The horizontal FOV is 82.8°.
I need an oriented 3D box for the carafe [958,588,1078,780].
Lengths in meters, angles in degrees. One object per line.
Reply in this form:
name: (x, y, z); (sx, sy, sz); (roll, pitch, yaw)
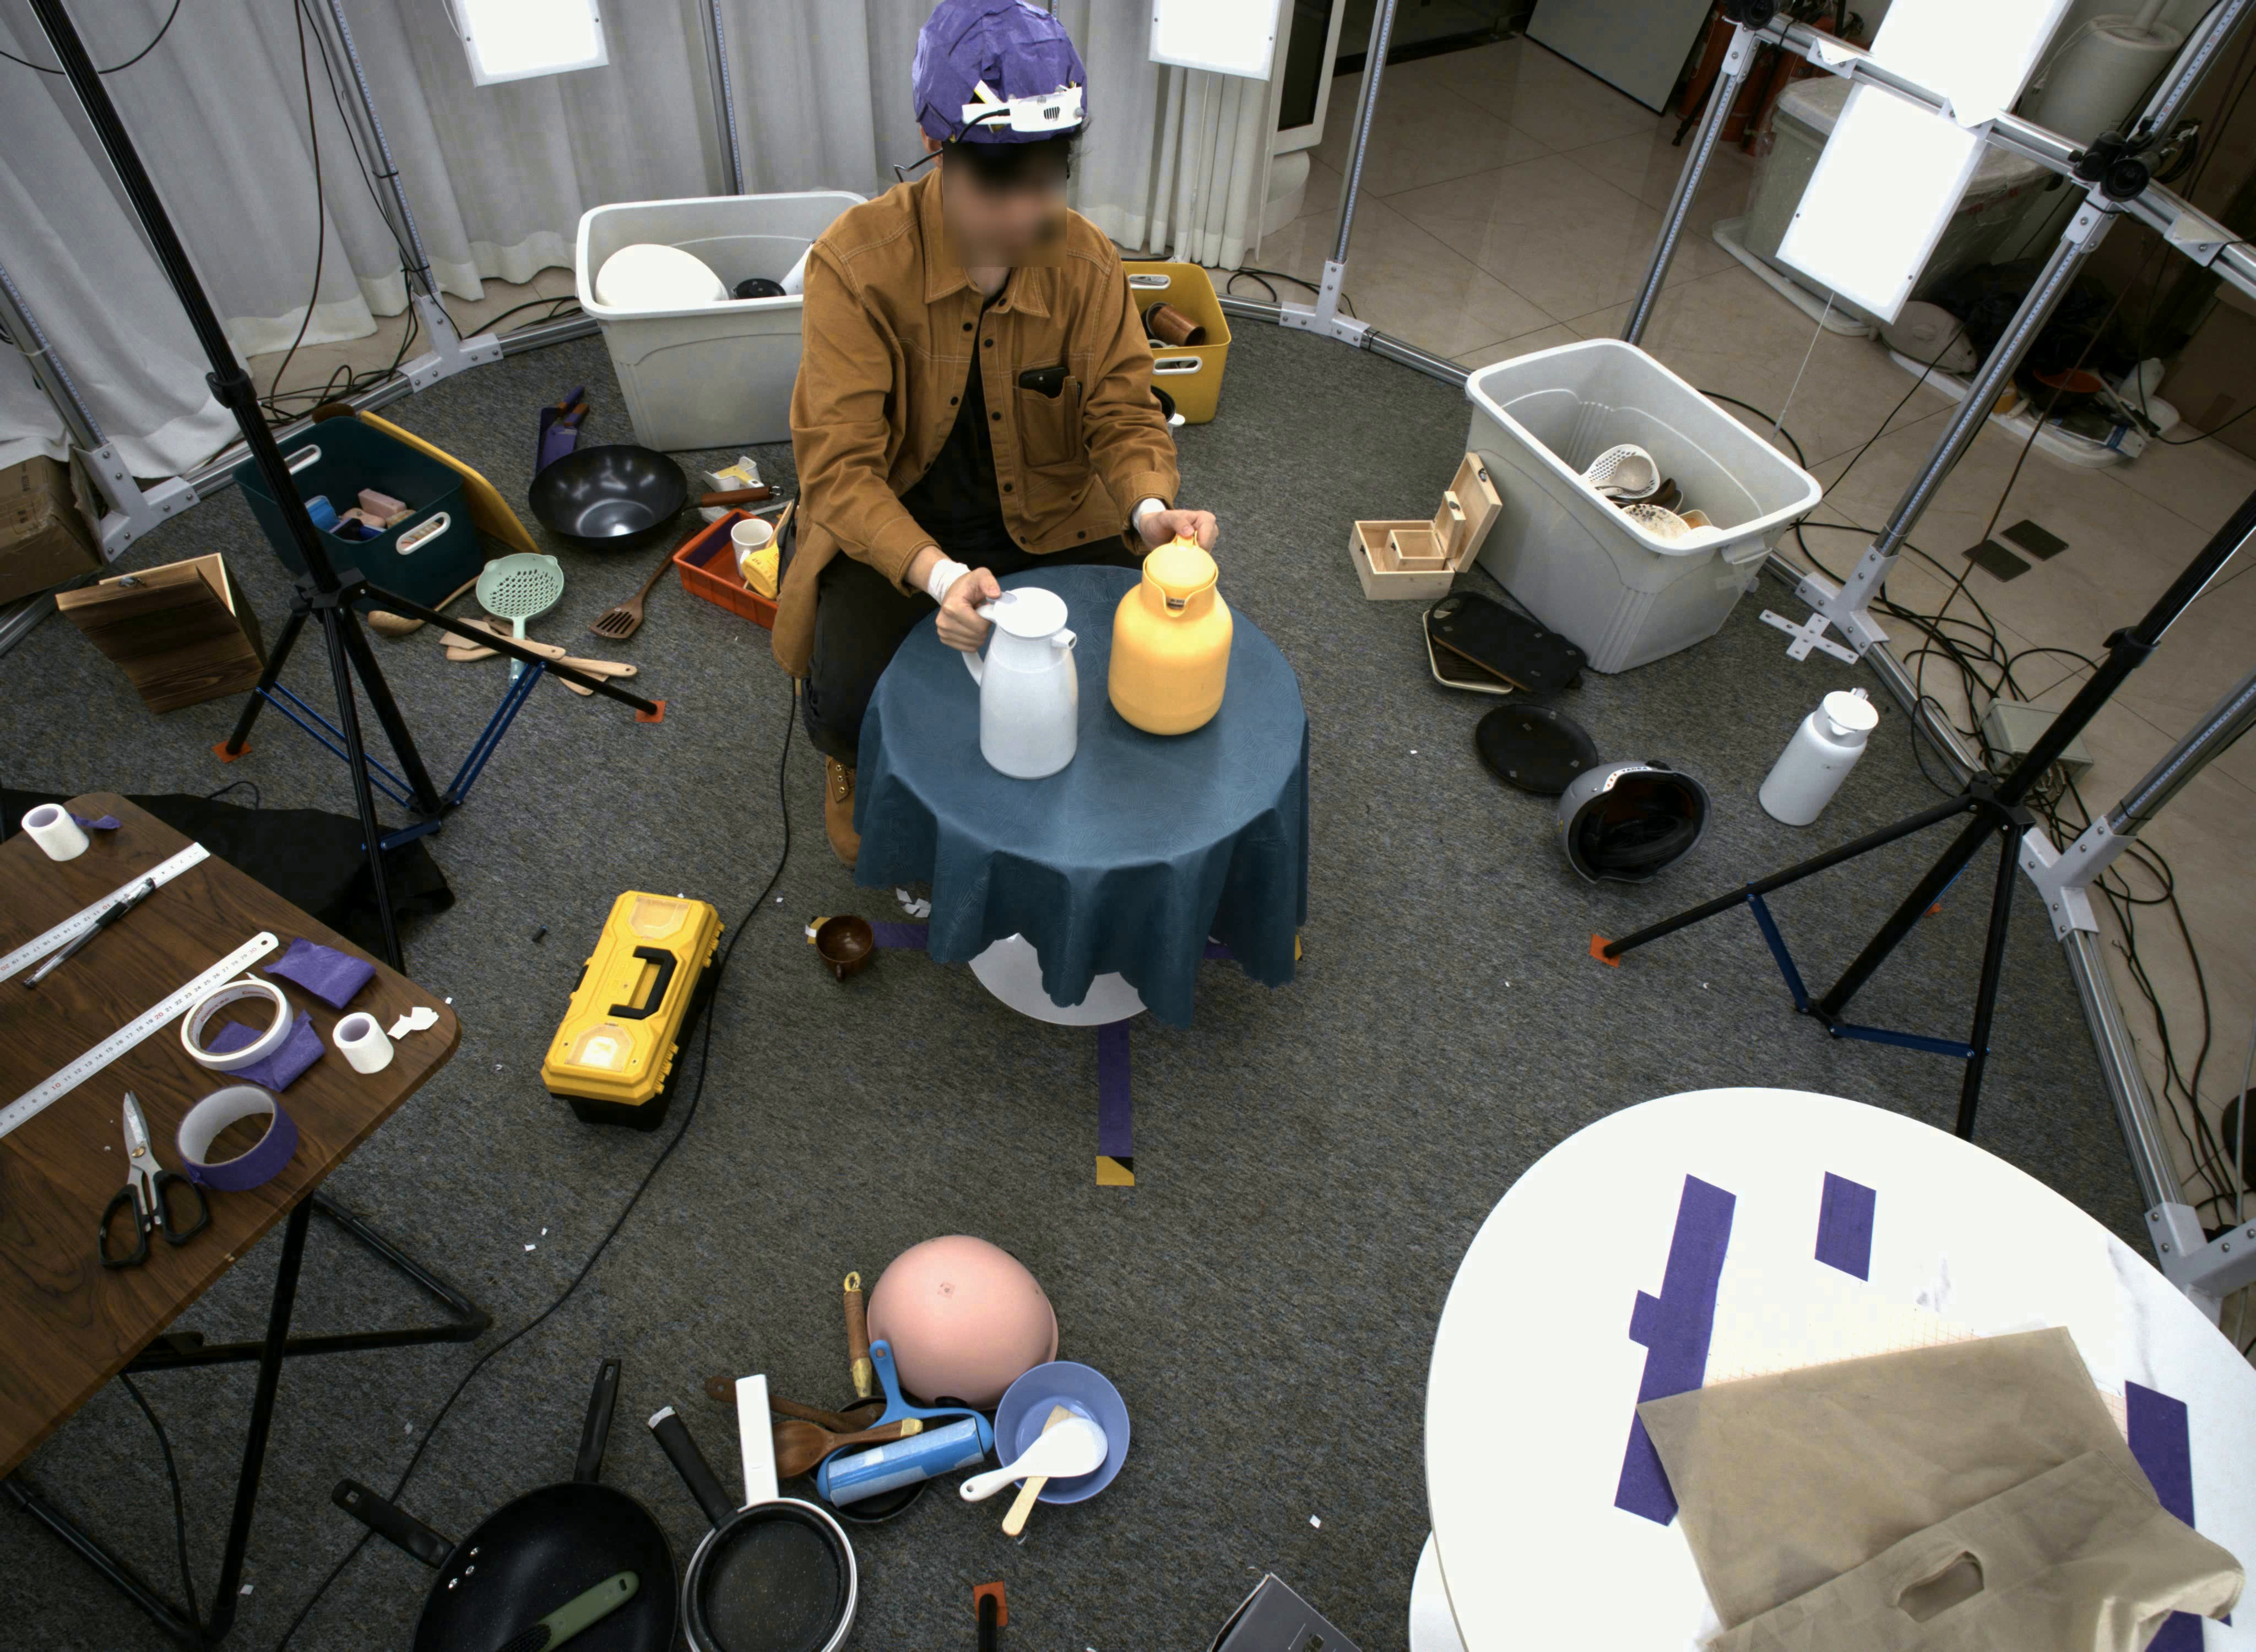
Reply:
carafe: (-0.146, -0.197, 1.670); (0.169, 0.242, 0.134); (25, 53, 17)

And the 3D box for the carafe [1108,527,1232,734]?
carafe: (0.063, -0.271, 1.740); (0.163, 0.254, 0.207); (11, 51, 3)
